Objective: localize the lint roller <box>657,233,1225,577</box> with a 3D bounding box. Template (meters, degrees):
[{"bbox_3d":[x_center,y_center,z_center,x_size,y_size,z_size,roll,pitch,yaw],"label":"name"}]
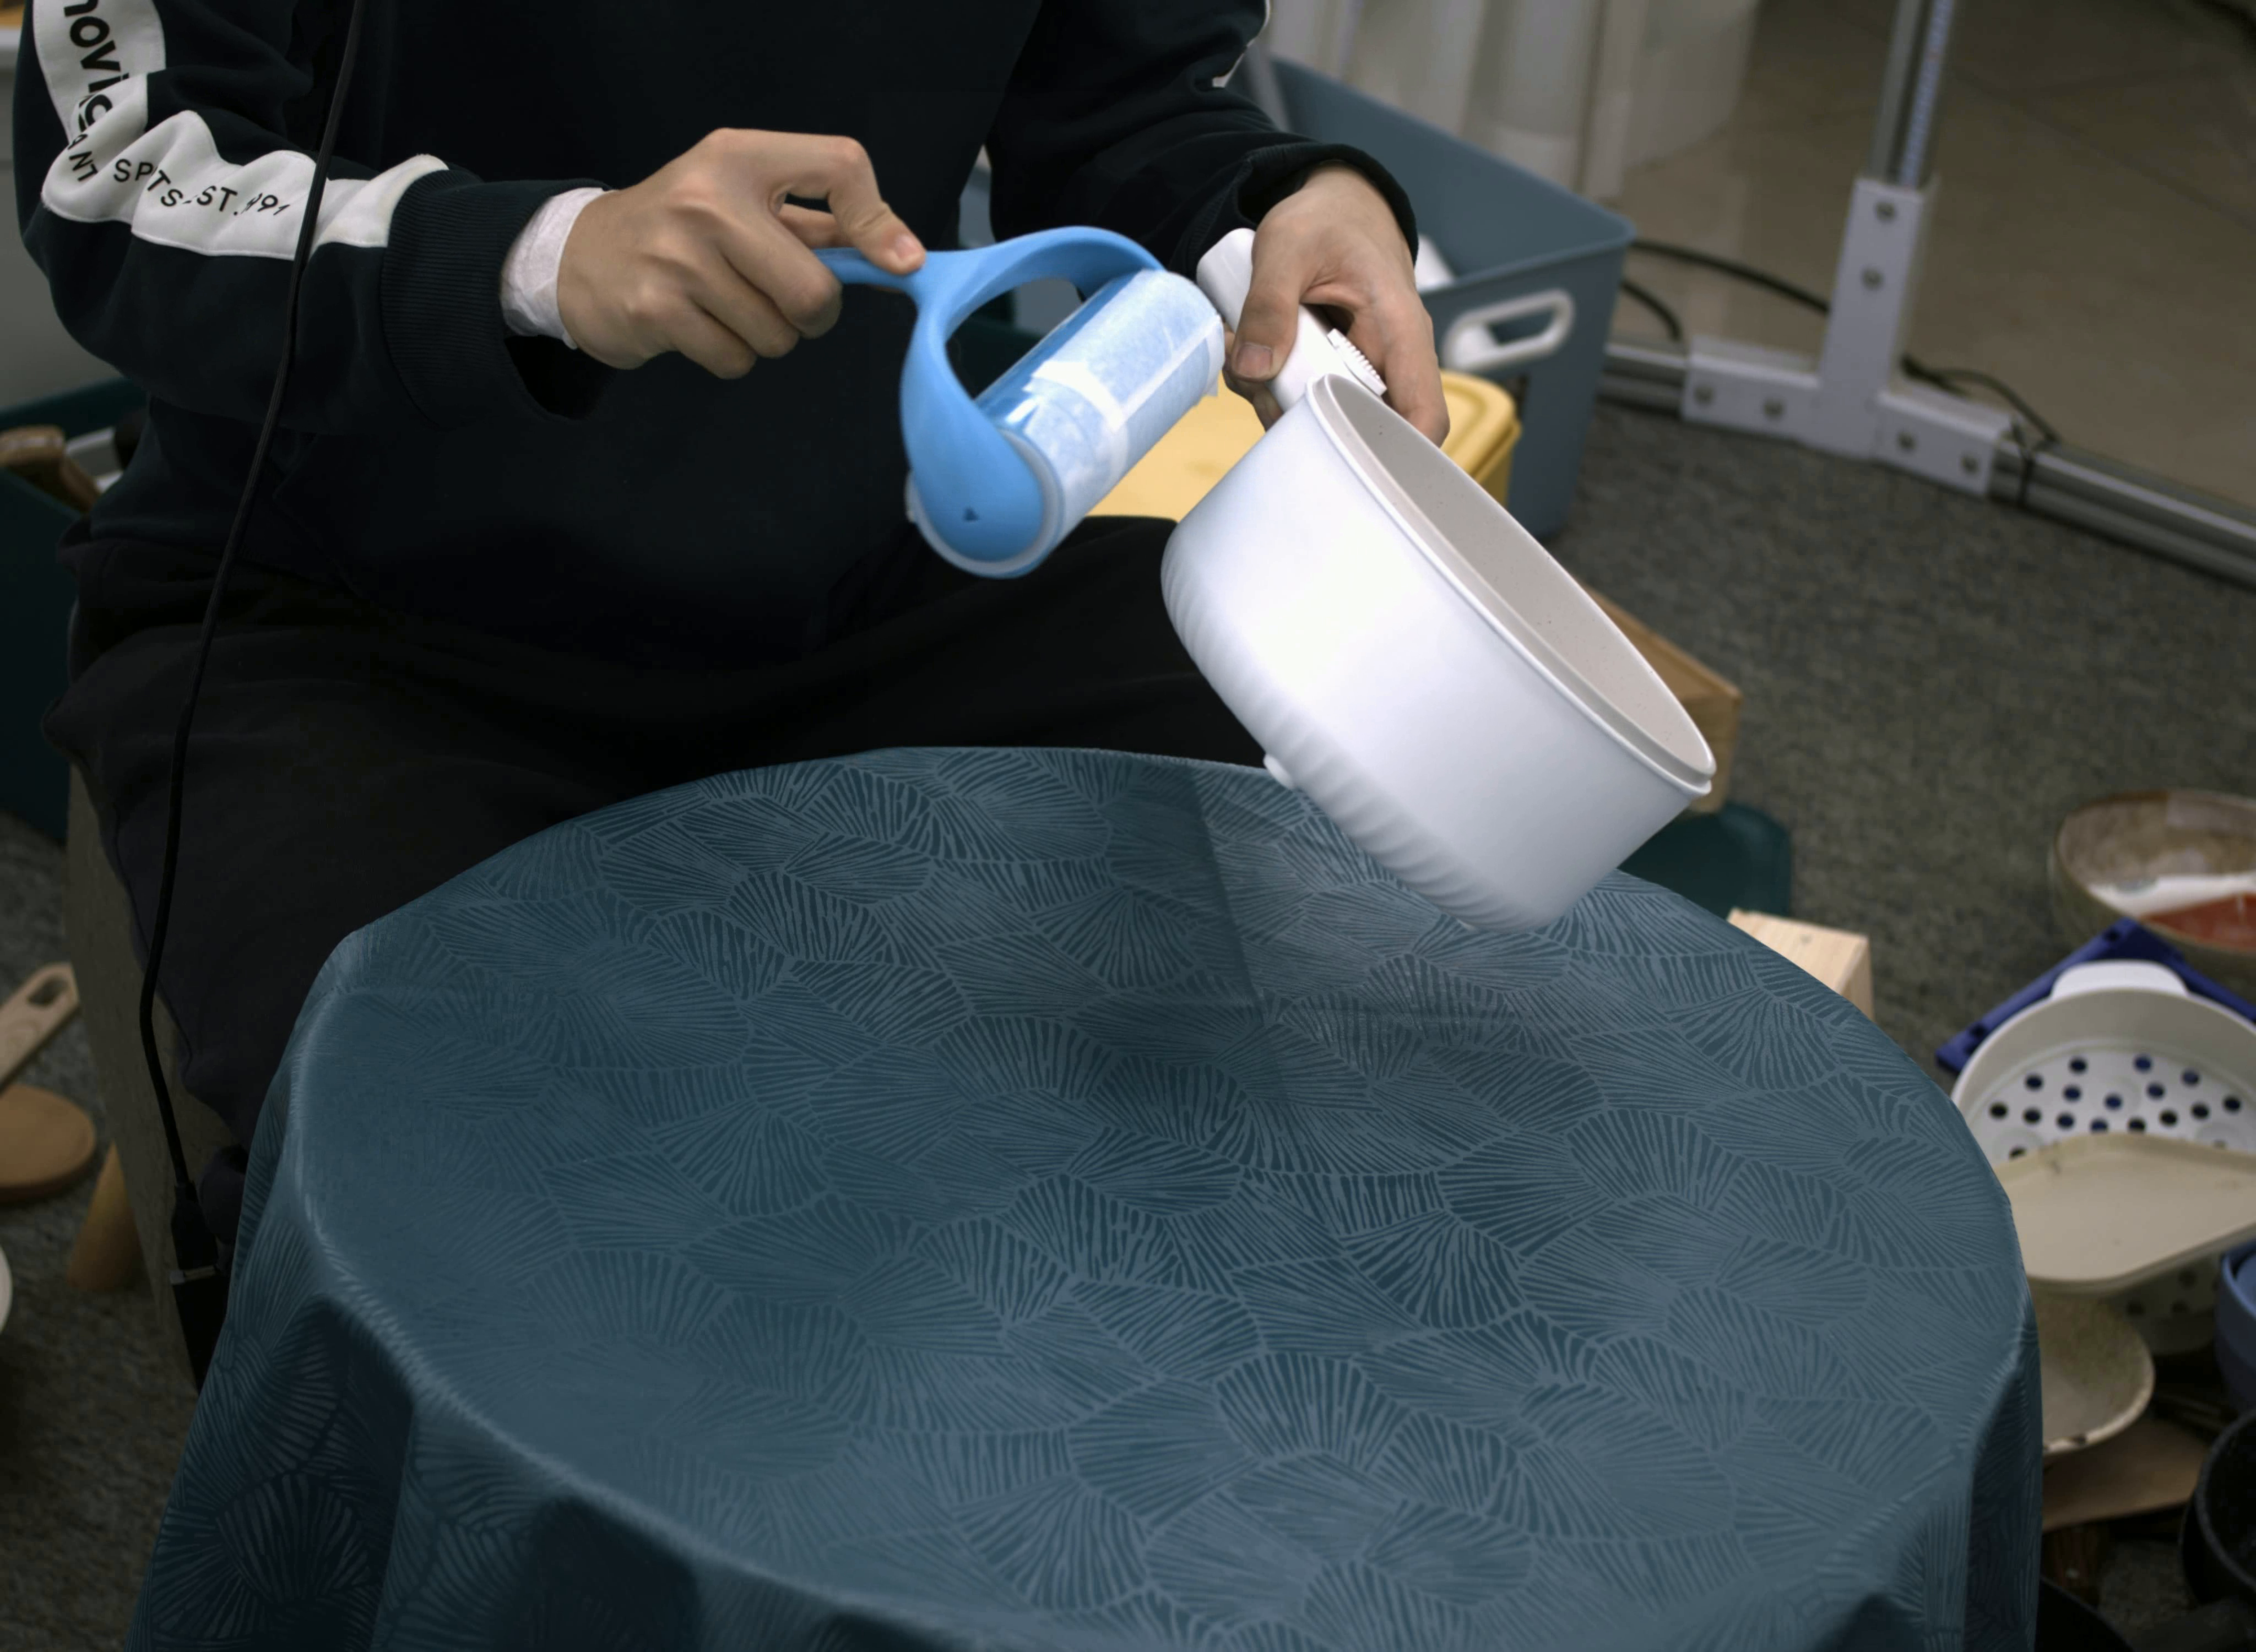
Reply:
[{"bbox_3d":[-0.072,-0.161,1.813,0.180,0.068,0.229,21,26,7],"label":"lint roller"}]

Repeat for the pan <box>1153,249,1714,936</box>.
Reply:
[{"bbox_3d":[0.075,-0.093,1.927,0.199,0.102,0.358,36,13,-36],"label":"pan"}]
